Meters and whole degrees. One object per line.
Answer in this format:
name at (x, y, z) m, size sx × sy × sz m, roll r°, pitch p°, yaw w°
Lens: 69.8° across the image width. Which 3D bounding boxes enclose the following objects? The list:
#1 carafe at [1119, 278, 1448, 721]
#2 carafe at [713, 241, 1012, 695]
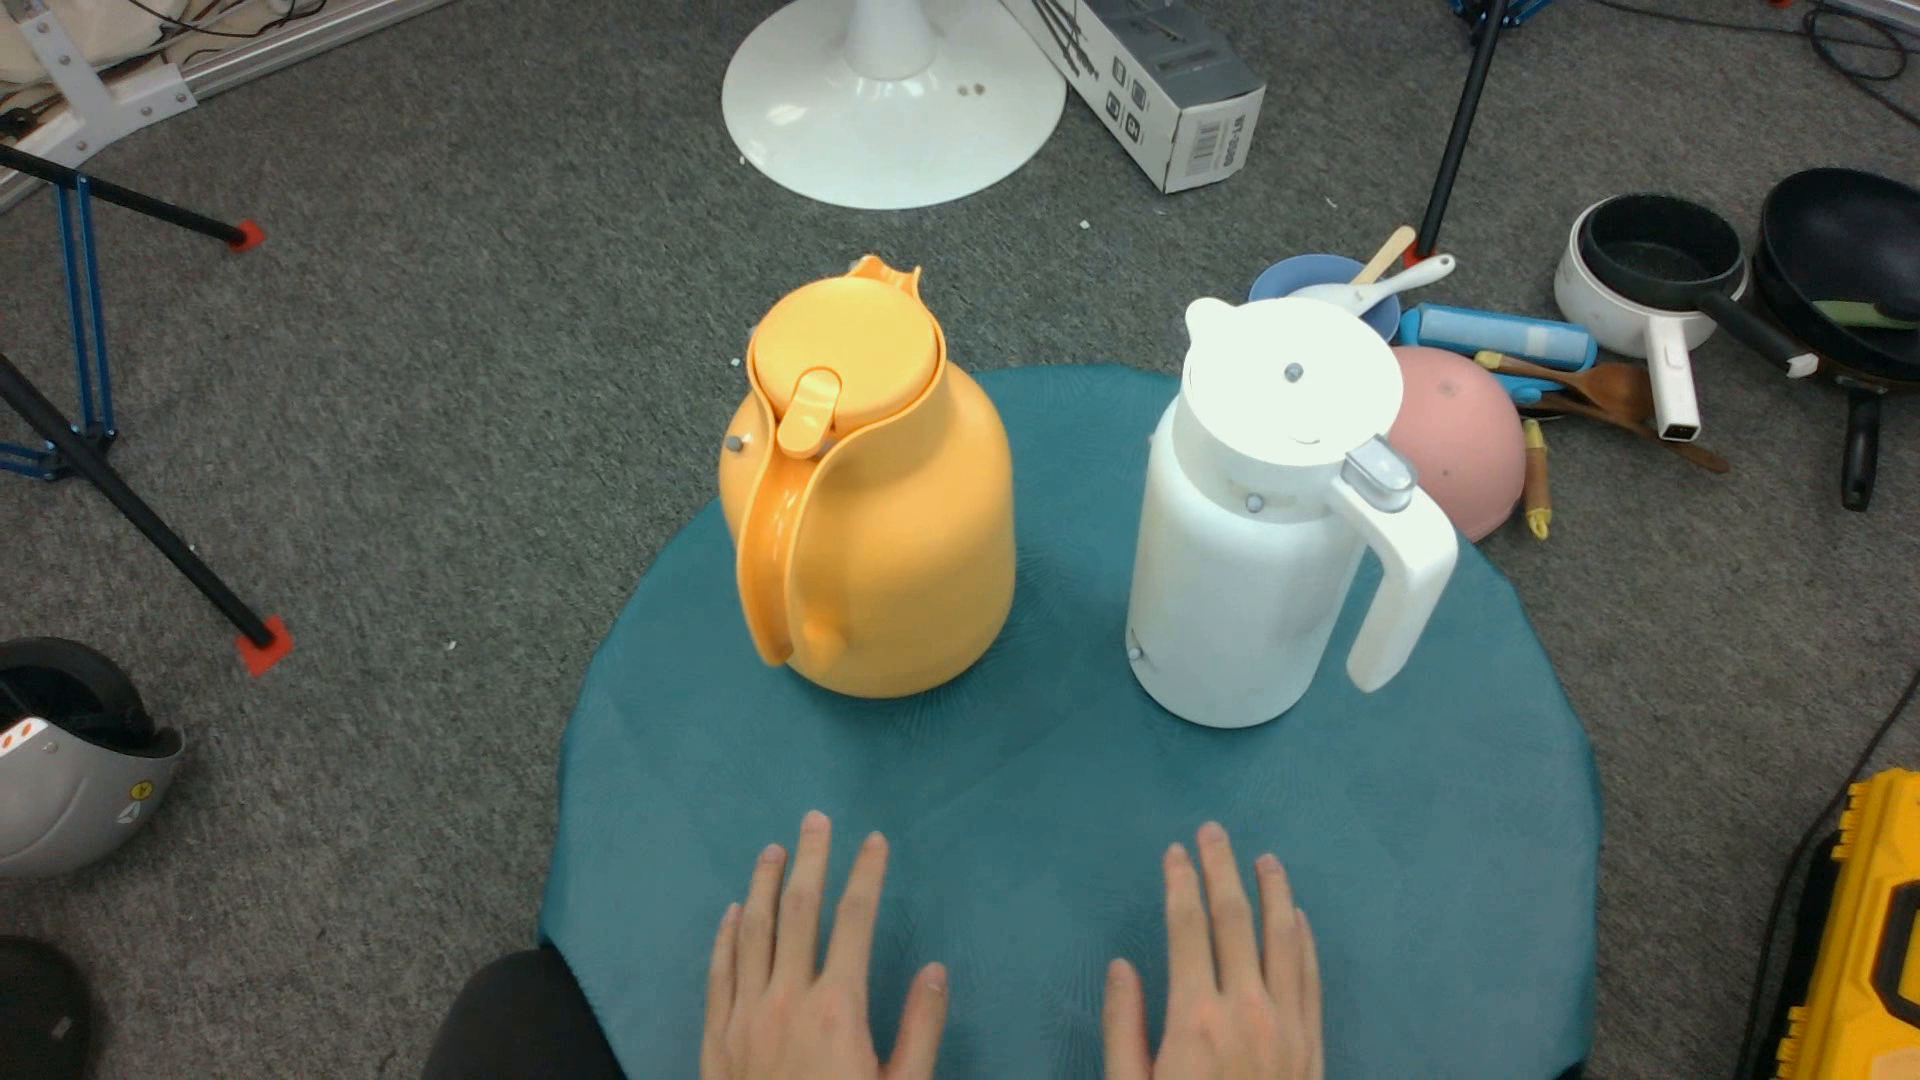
carafe at (0.163, 0.002, 0.730) m, size 0.124 × 0.267 × 0.173 m, roll -30°, pitch 62°, yaw -19°
carafe at (-0.062, -0.020, 0.752) m, size 0.163 × 0.259 × 0.203 m, roll 16°, pitch 58°, yaw 15°
